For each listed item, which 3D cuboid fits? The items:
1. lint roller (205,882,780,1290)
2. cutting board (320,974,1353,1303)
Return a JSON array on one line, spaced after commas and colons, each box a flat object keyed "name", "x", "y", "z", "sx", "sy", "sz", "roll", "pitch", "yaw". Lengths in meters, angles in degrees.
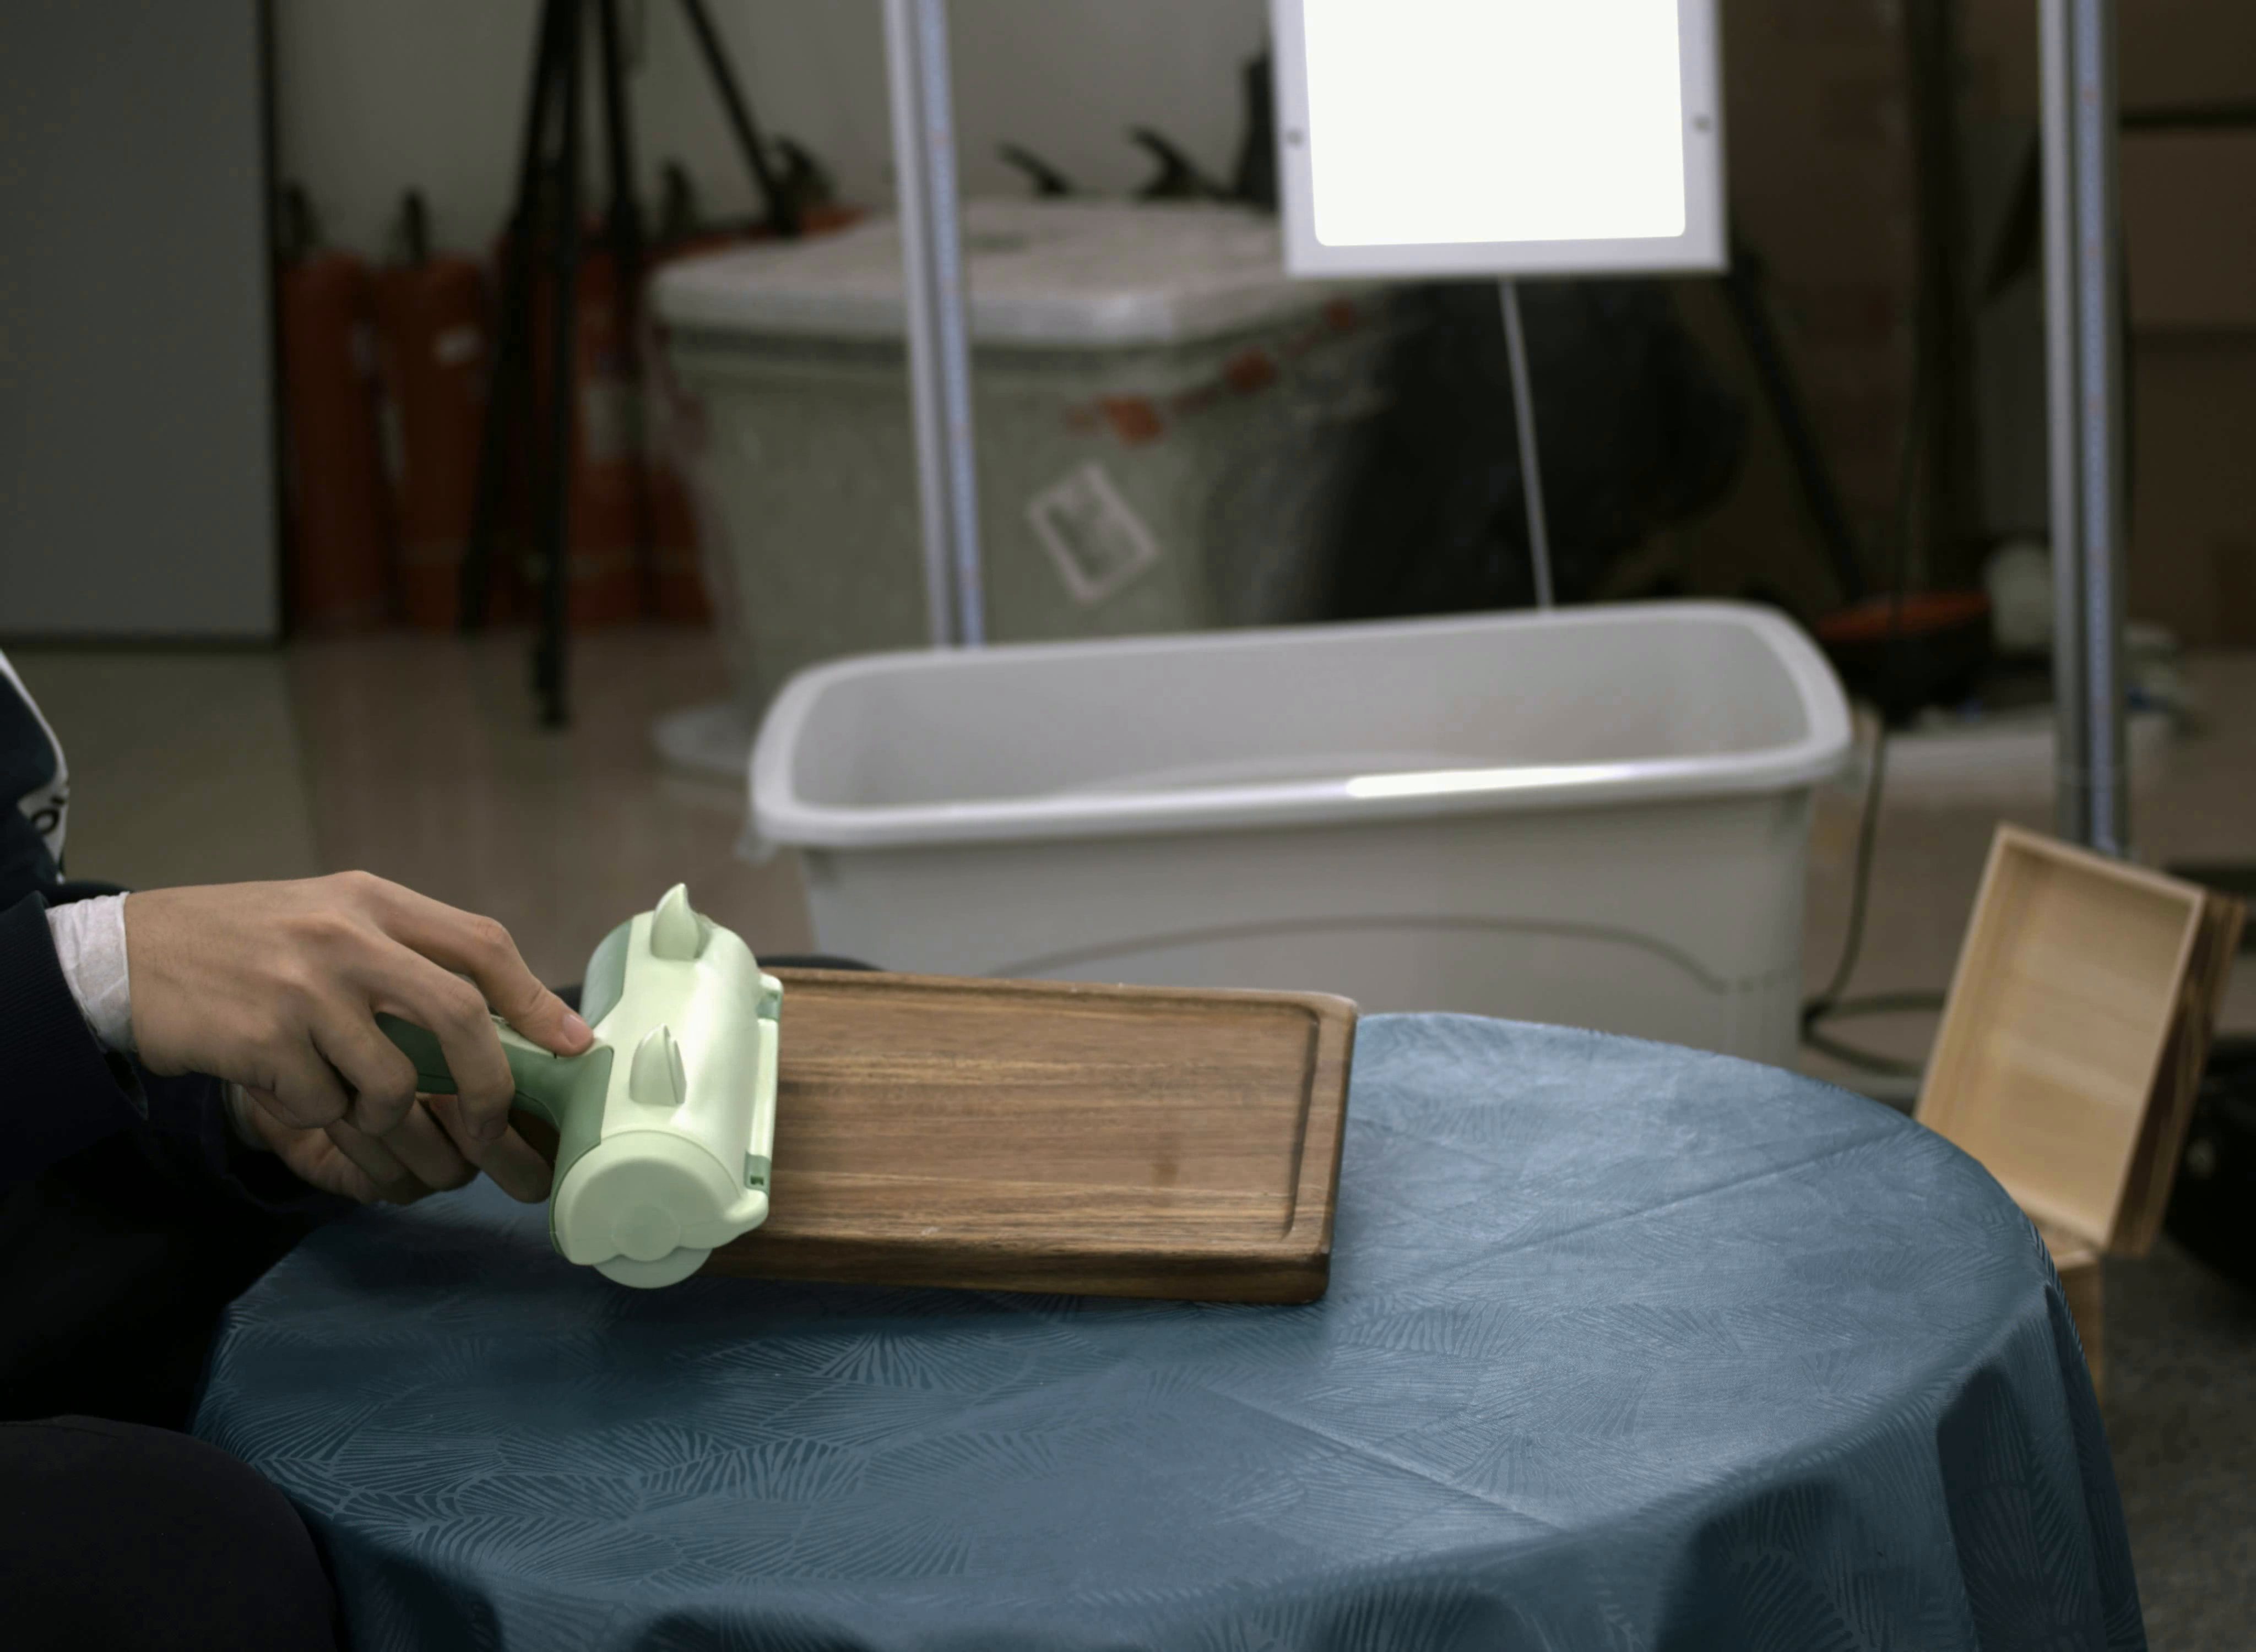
[{"name": "lint roller", "x": -0.203, "y": 0.063, "z": 1.797, "sx": 0.182, "sy": 0.083, "sz": 0.198, "roll": 18, "pitch": 21, "yaw": -8}, {"name": "cutting board", "x": -0.100, "y": 0.100, "z": 1.867, "sx": 0.353, "sy": 0.023, "sz": 0.199, "roll": 2, "pitch": 24, "yaw": 6}]
